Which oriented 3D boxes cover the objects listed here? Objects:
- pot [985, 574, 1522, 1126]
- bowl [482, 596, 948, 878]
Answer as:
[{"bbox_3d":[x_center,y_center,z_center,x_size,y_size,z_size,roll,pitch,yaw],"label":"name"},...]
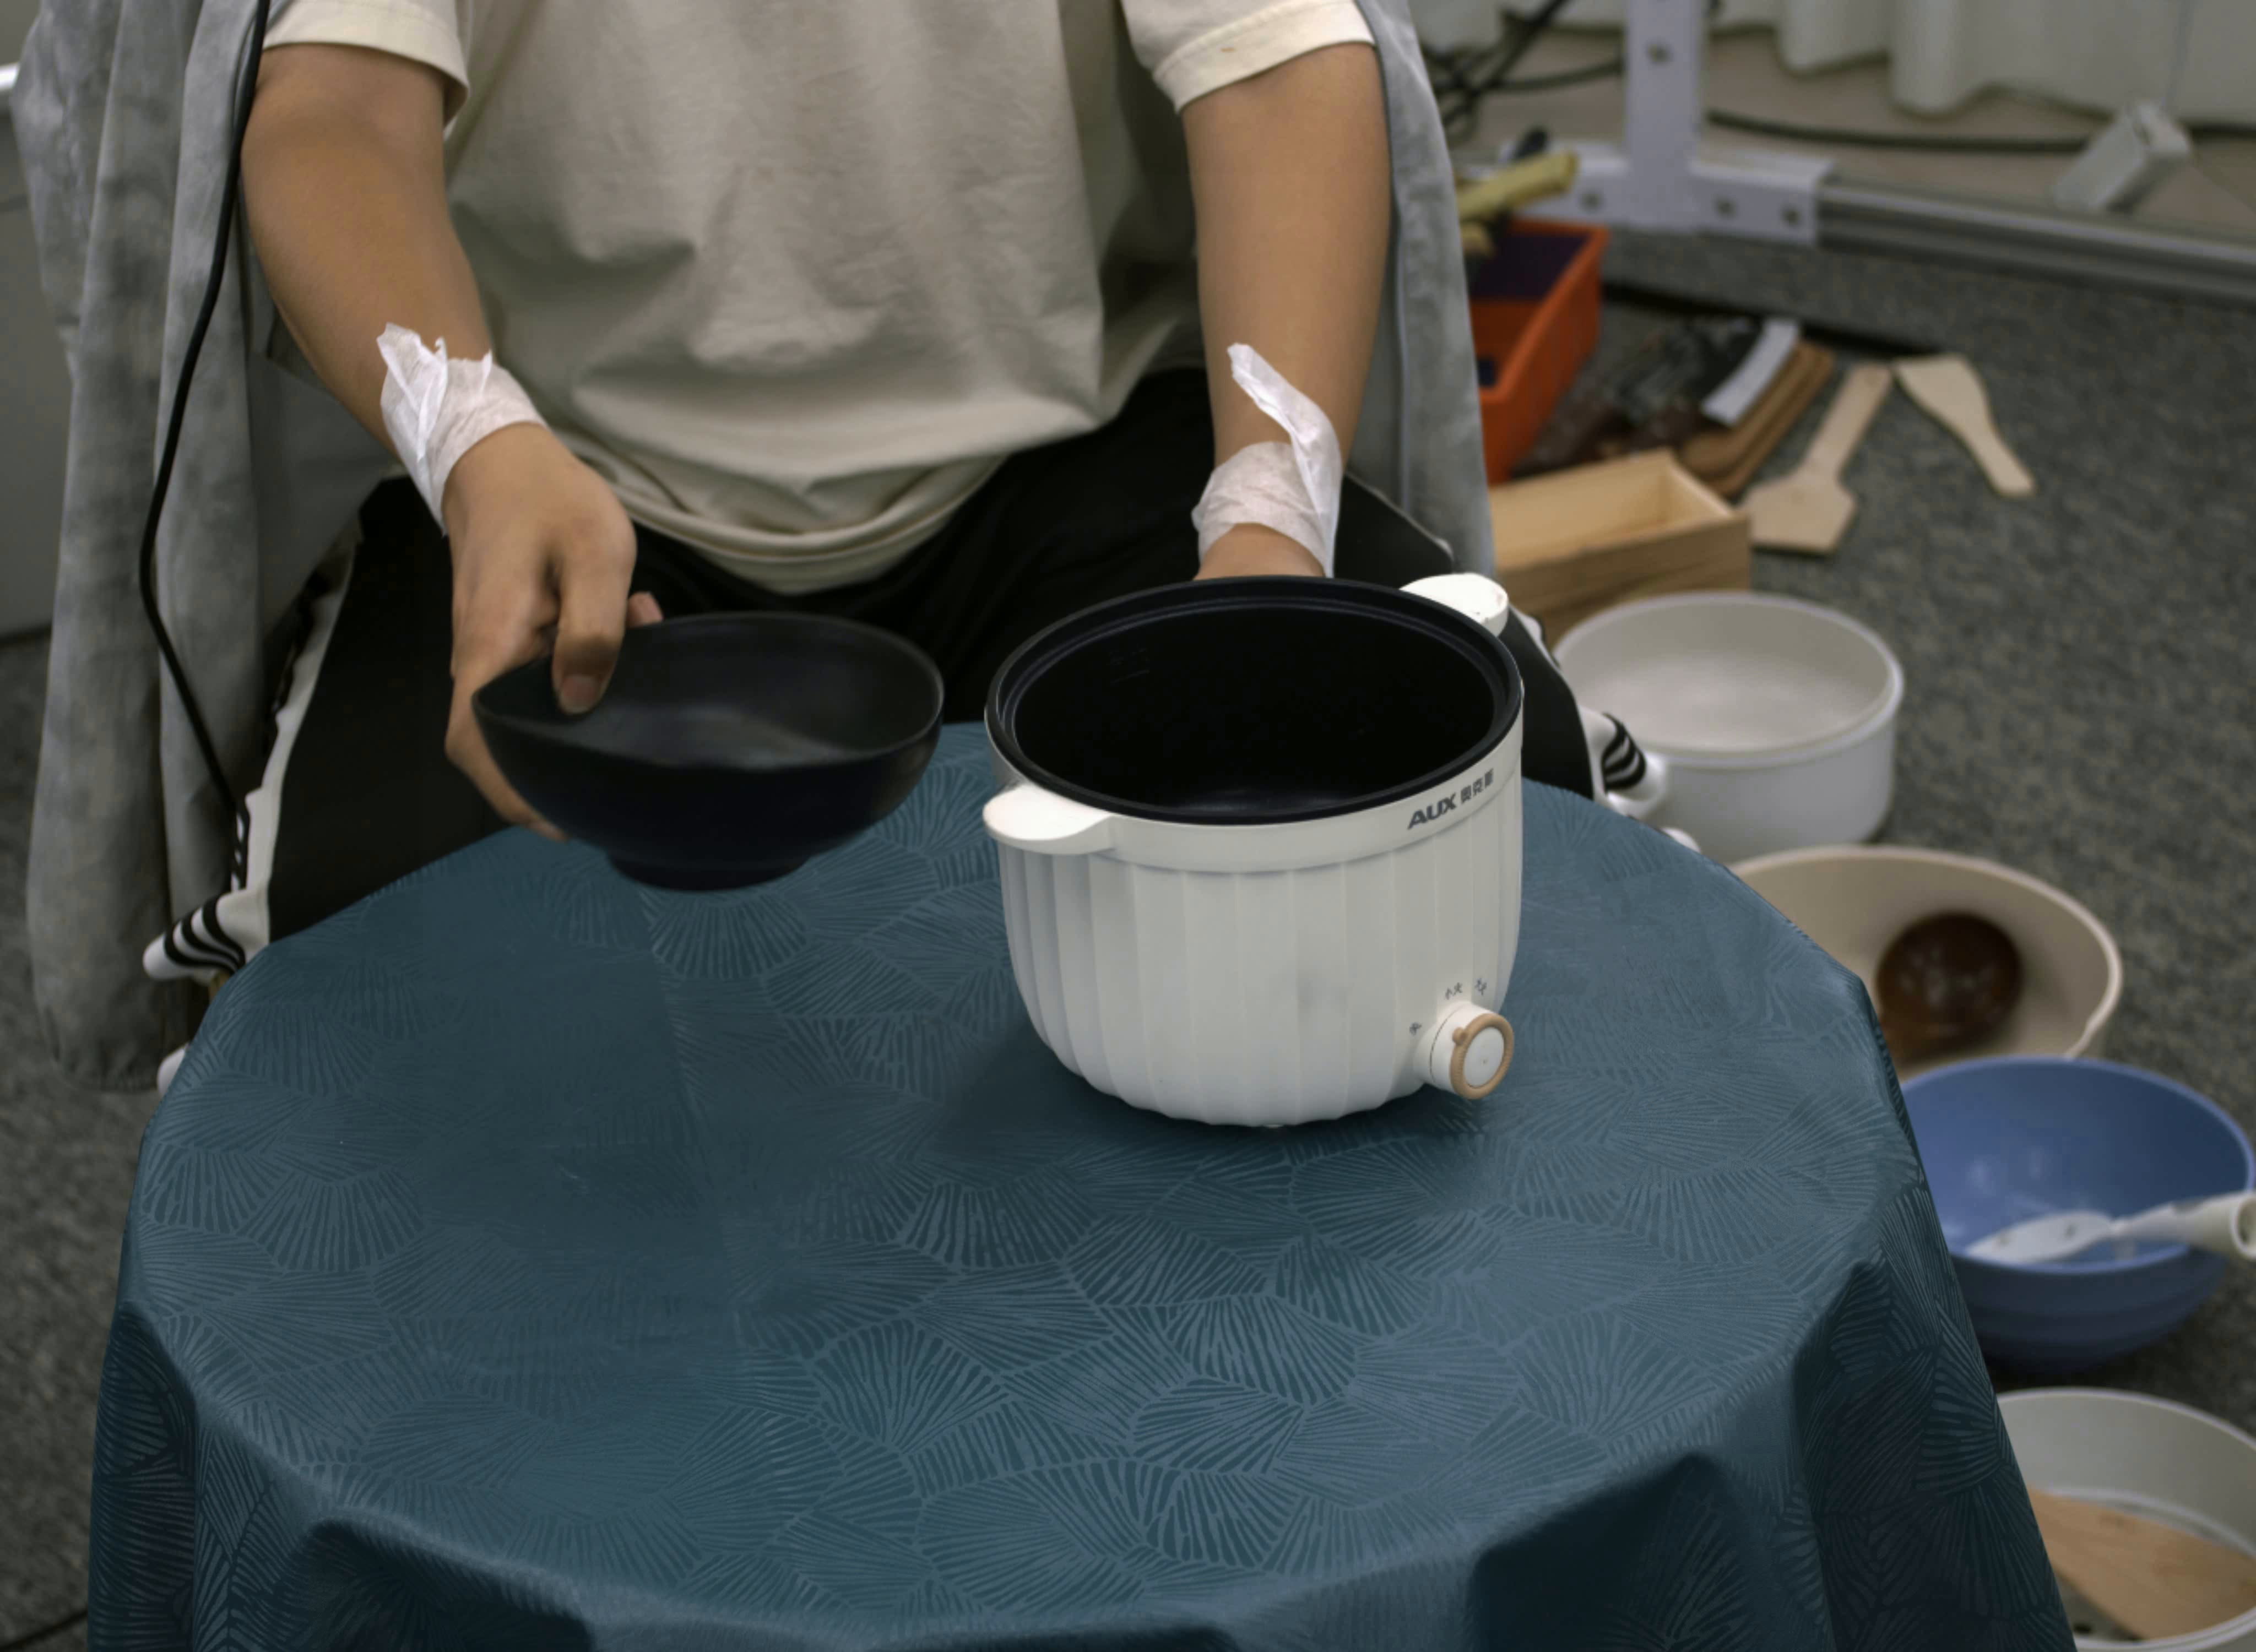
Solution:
[{"bbox_3d":[0.050,0.014,1.916,0.190,0.141,0.243,17,34,41],"label":"pot"},{"bbox_3d":[-0.135,-0.024,1.844,0.169,0.066,0.139,11,25,34],"label":"bowl"}]
